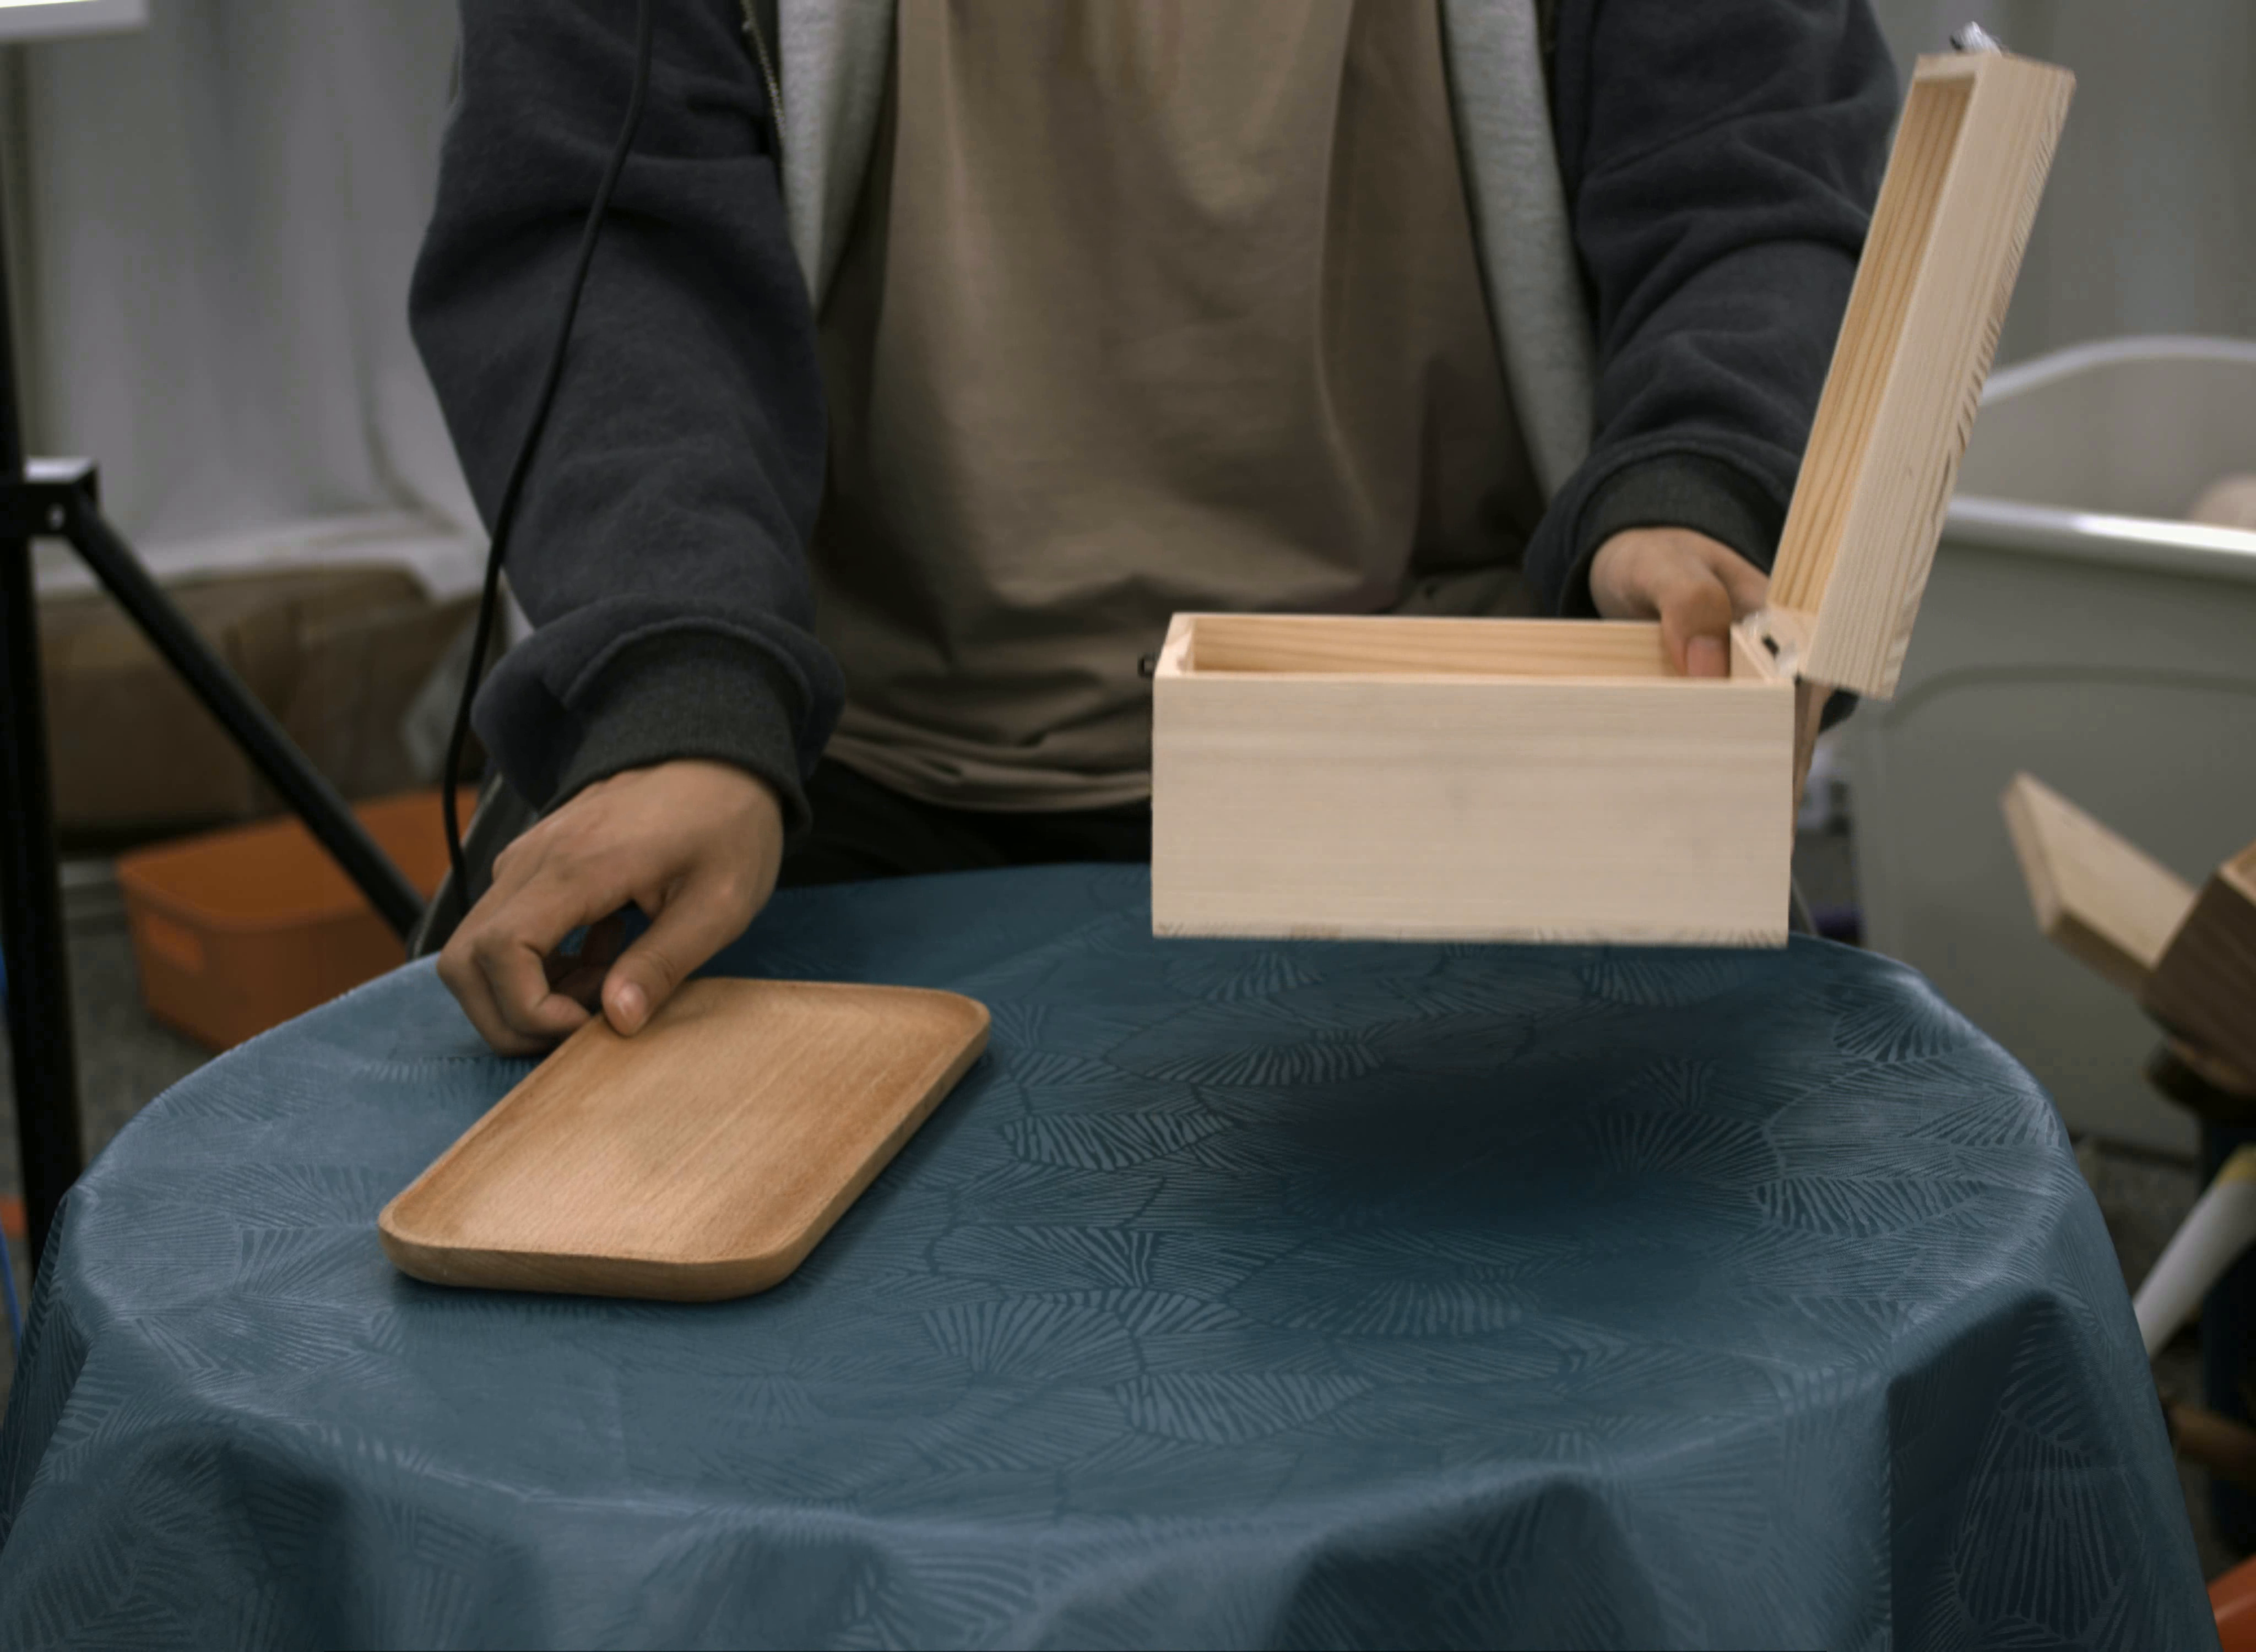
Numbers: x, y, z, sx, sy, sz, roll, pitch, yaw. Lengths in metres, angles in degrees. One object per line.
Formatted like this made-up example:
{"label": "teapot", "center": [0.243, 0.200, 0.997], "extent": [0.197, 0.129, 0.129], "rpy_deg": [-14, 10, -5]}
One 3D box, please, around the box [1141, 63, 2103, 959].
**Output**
{"label": "box", "center": [0.137, -0.096, 1.564], "extent": [0.264, 0.254, 0.181], "rpy_deg": [2, 5, 3]}

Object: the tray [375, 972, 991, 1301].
{"label": "tray", "center": [-0.129, 0.091, 1.608], "extent": [0.131, 0.023, 0.248], "rpy_deg": [5, 17, 15]}
